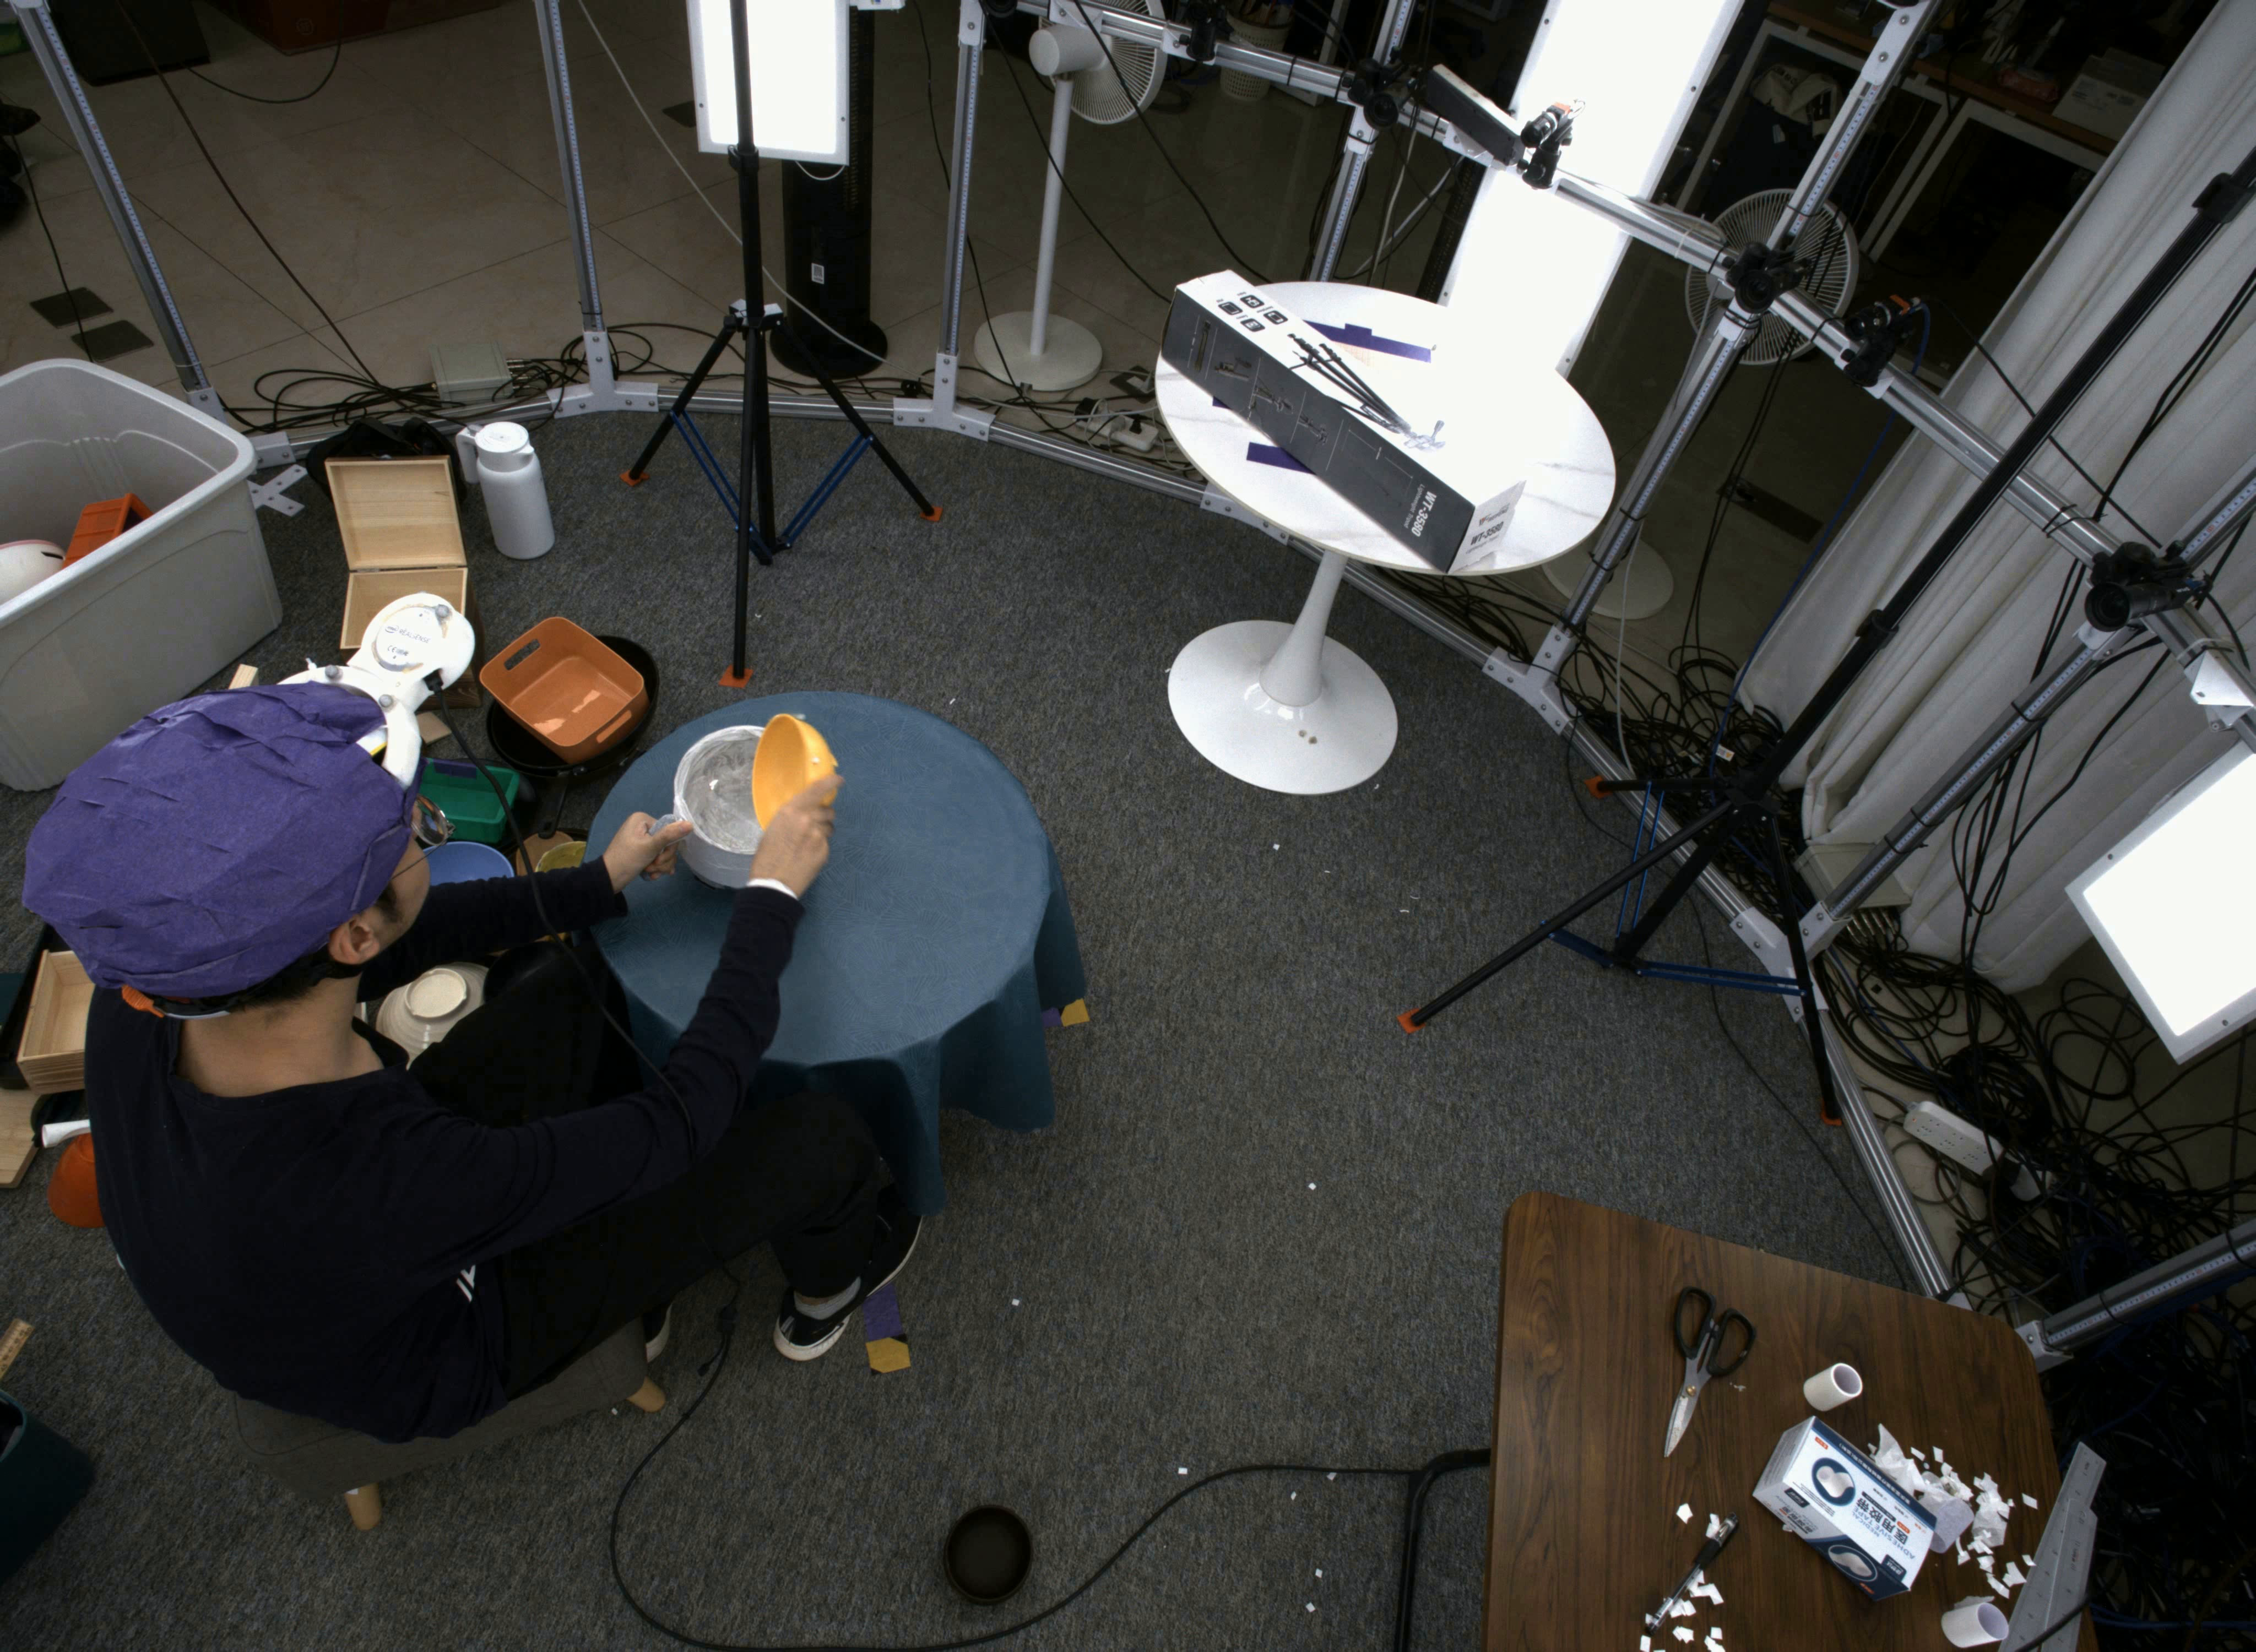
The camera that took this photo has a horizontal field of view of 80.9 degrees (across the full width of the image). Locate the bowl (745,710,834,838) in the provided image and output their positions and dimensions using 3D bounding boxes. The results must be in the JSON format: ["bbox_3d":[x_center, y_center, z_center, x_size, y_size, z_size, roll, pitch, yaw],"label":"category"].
[{"bbox_3d":[-0.379,-0.056,1.480,0.061,0.145,0.141,10,44,-44],"label":"bowl"}]

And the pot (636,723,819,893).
[{"bbox_3d":[-0.498,-0.007,1.601,0.235,0.138,0.176,-28,74,-30],"label":"pot"}]
